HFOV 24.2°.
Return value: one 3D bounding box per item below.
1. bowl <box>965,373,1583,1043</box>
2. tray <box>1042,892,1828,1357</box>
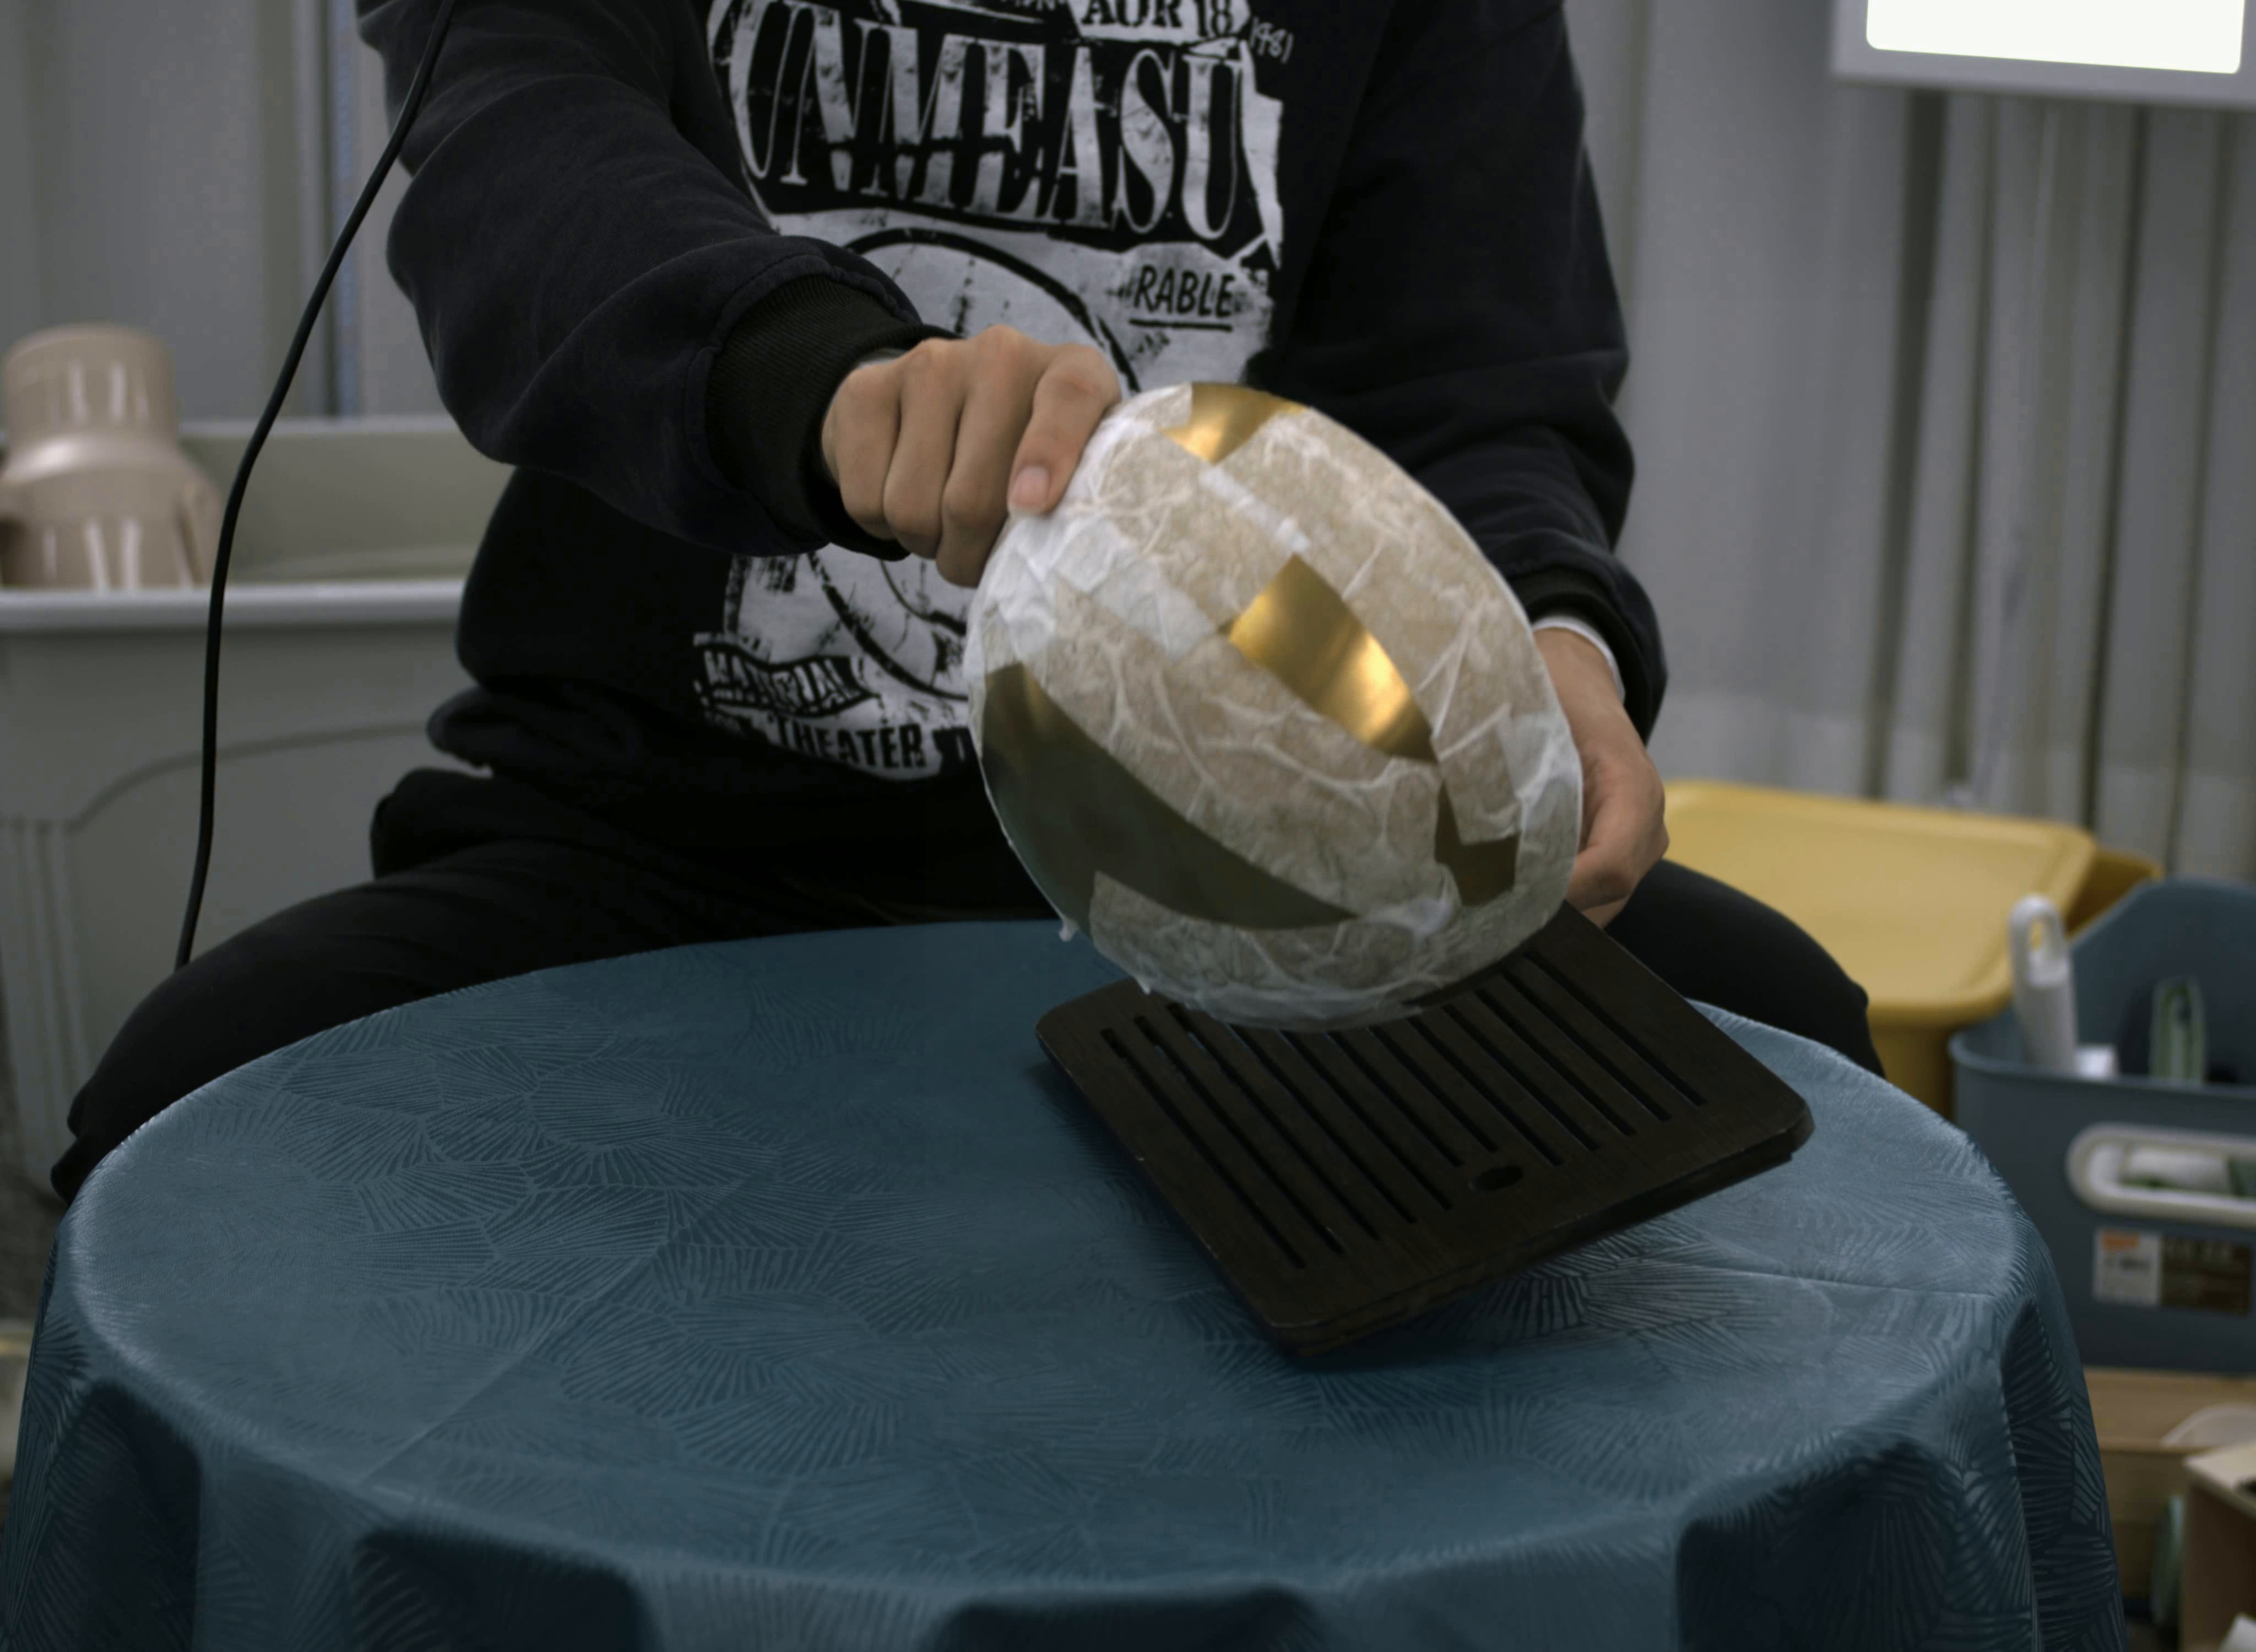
[{"bbox_3d":[0.022,-0.014,1.506,0.212,0.217,0.094,16,43,41],"label":"bowl"},{"bbox_3d":[0.087,0.080,1.625,0.170,0.019,0.303,-21,20,-9],"label":"tray"}]
